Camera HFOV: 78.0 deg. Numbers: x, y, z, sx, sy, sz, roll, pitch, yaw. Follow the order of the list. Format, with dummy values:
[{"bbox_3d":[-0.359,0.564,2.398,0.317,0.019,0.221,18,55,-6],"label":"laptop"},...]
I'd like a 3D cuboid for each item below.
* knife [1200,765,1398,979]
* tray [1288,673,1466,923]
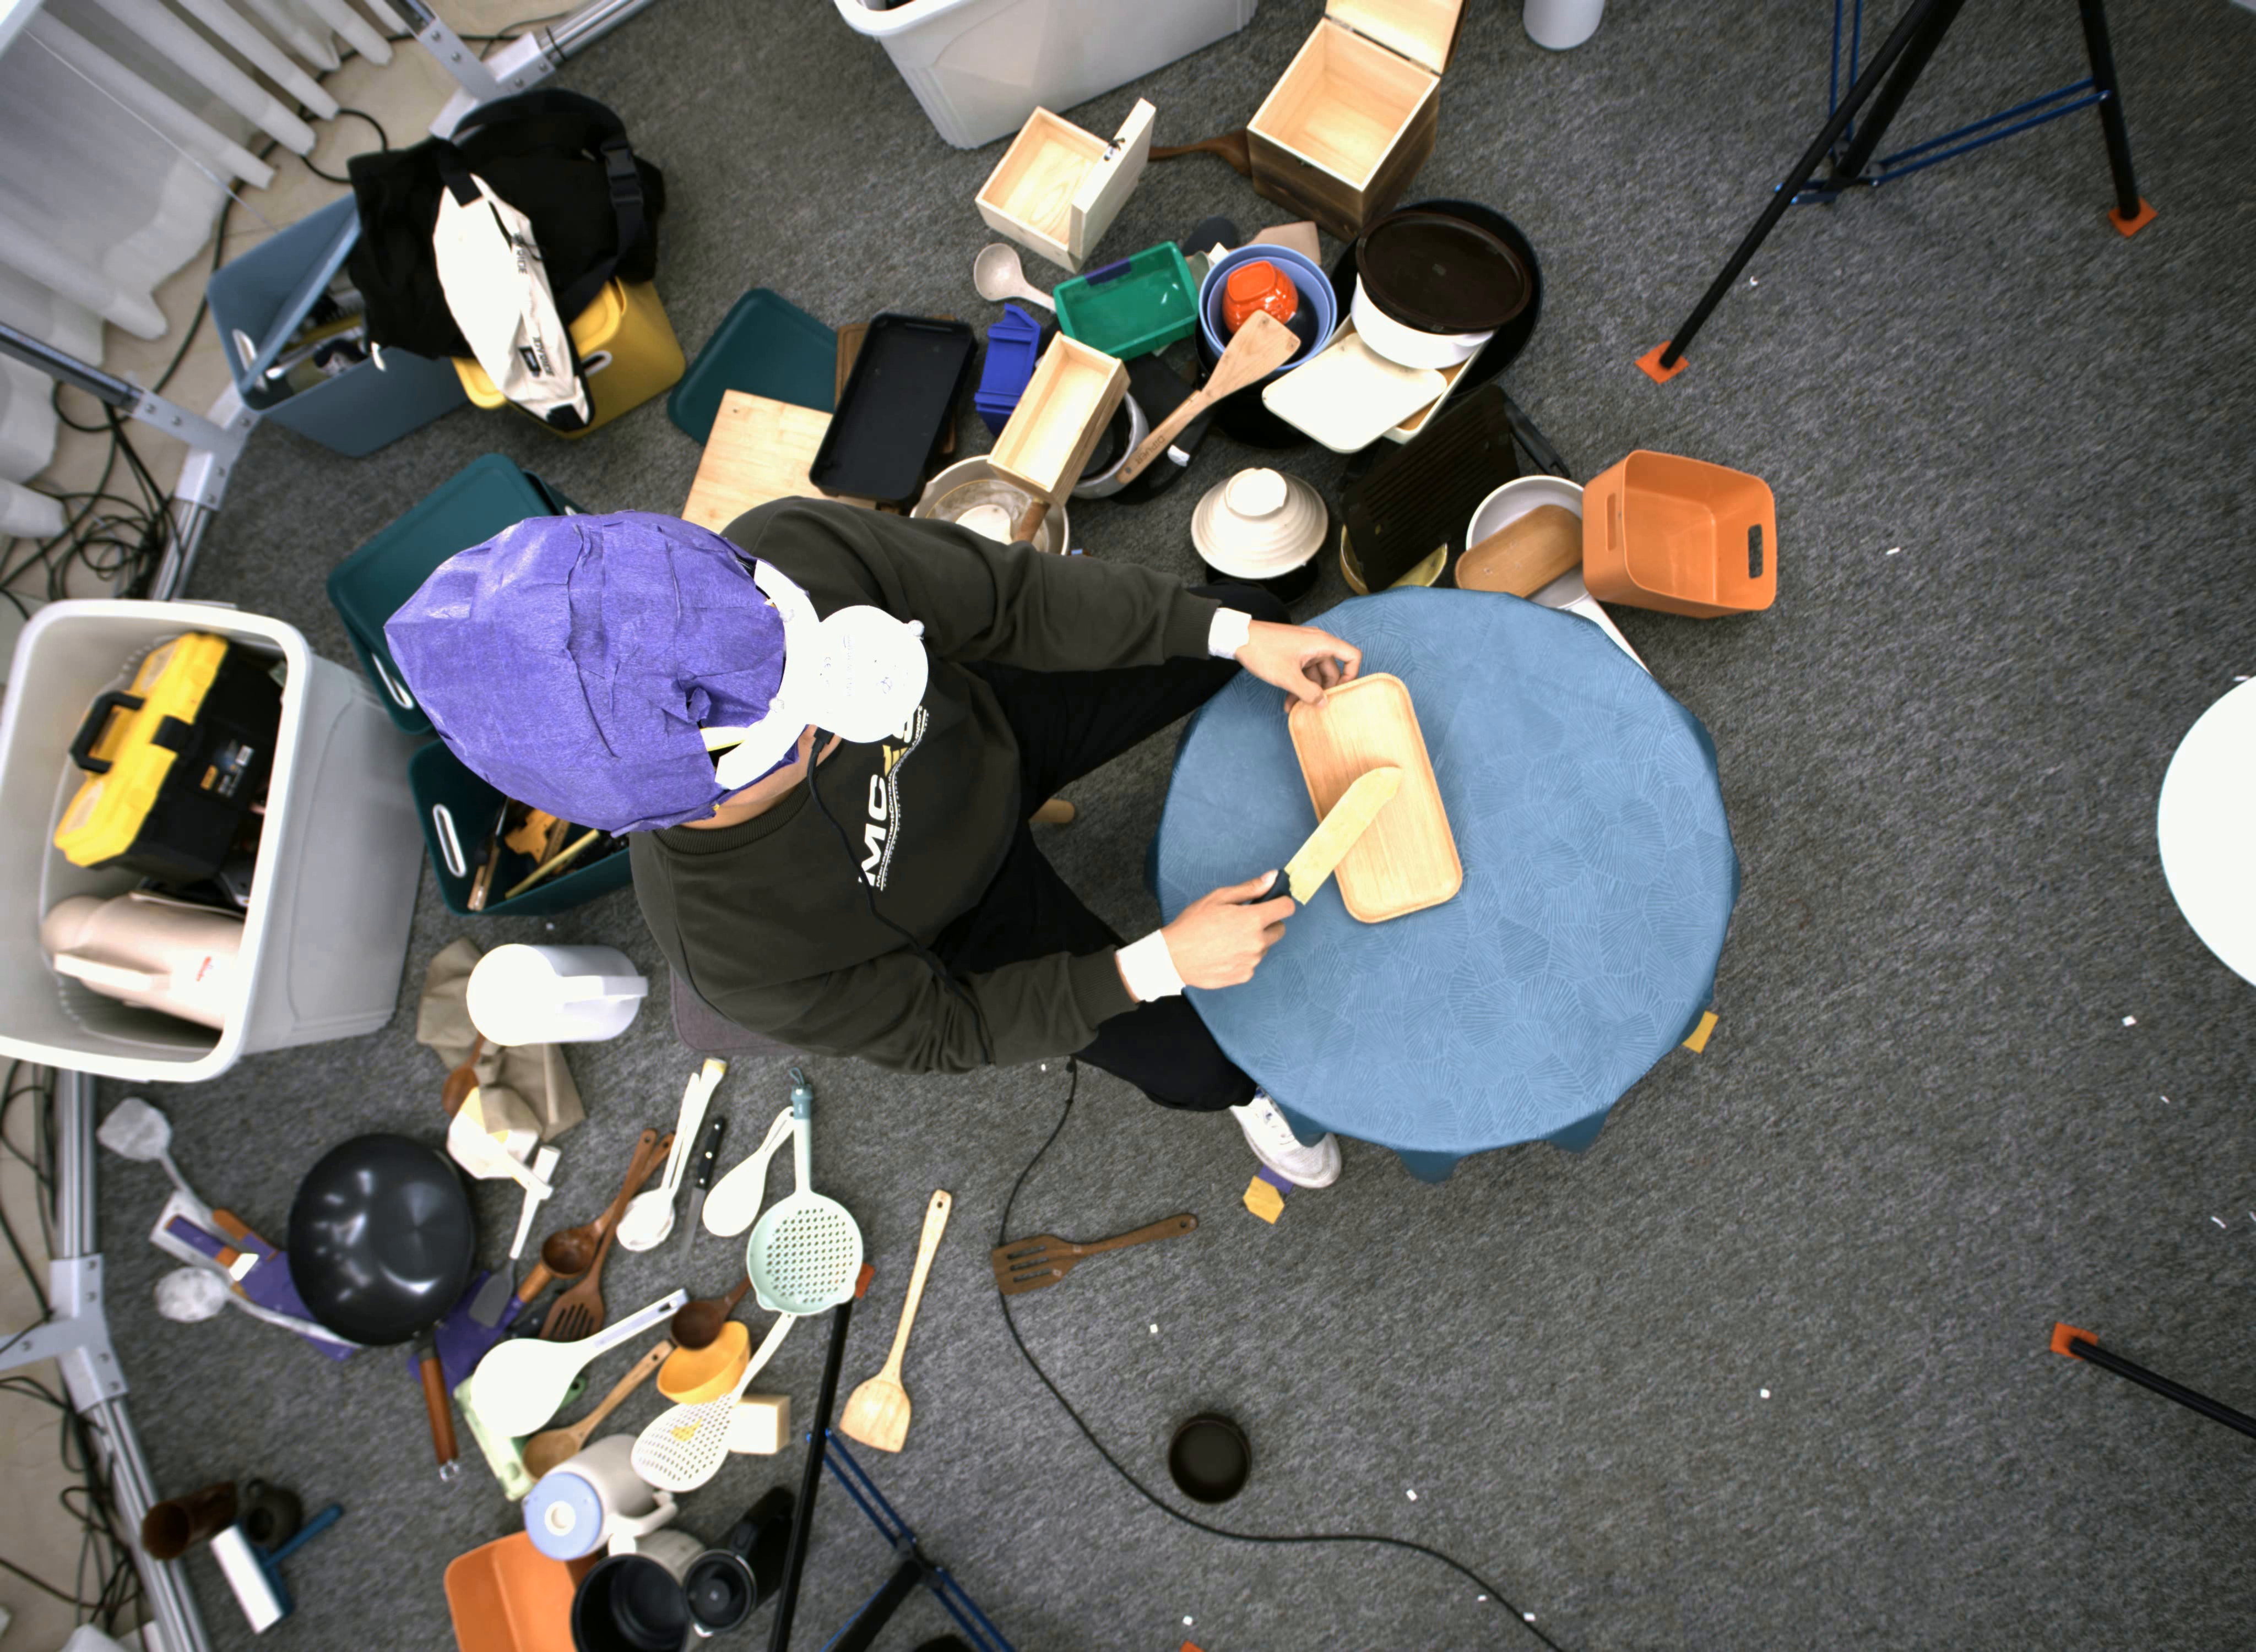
[{"bbox_3d":[0.177,0.046,1.404,0.290,0.082,0.027,-48,49,3],"label":"knife"},{"bbox_3d":[0.258,-0.029,1.423,0.131,0.022,0.253,-17,103,11],"label":"tray"}]
